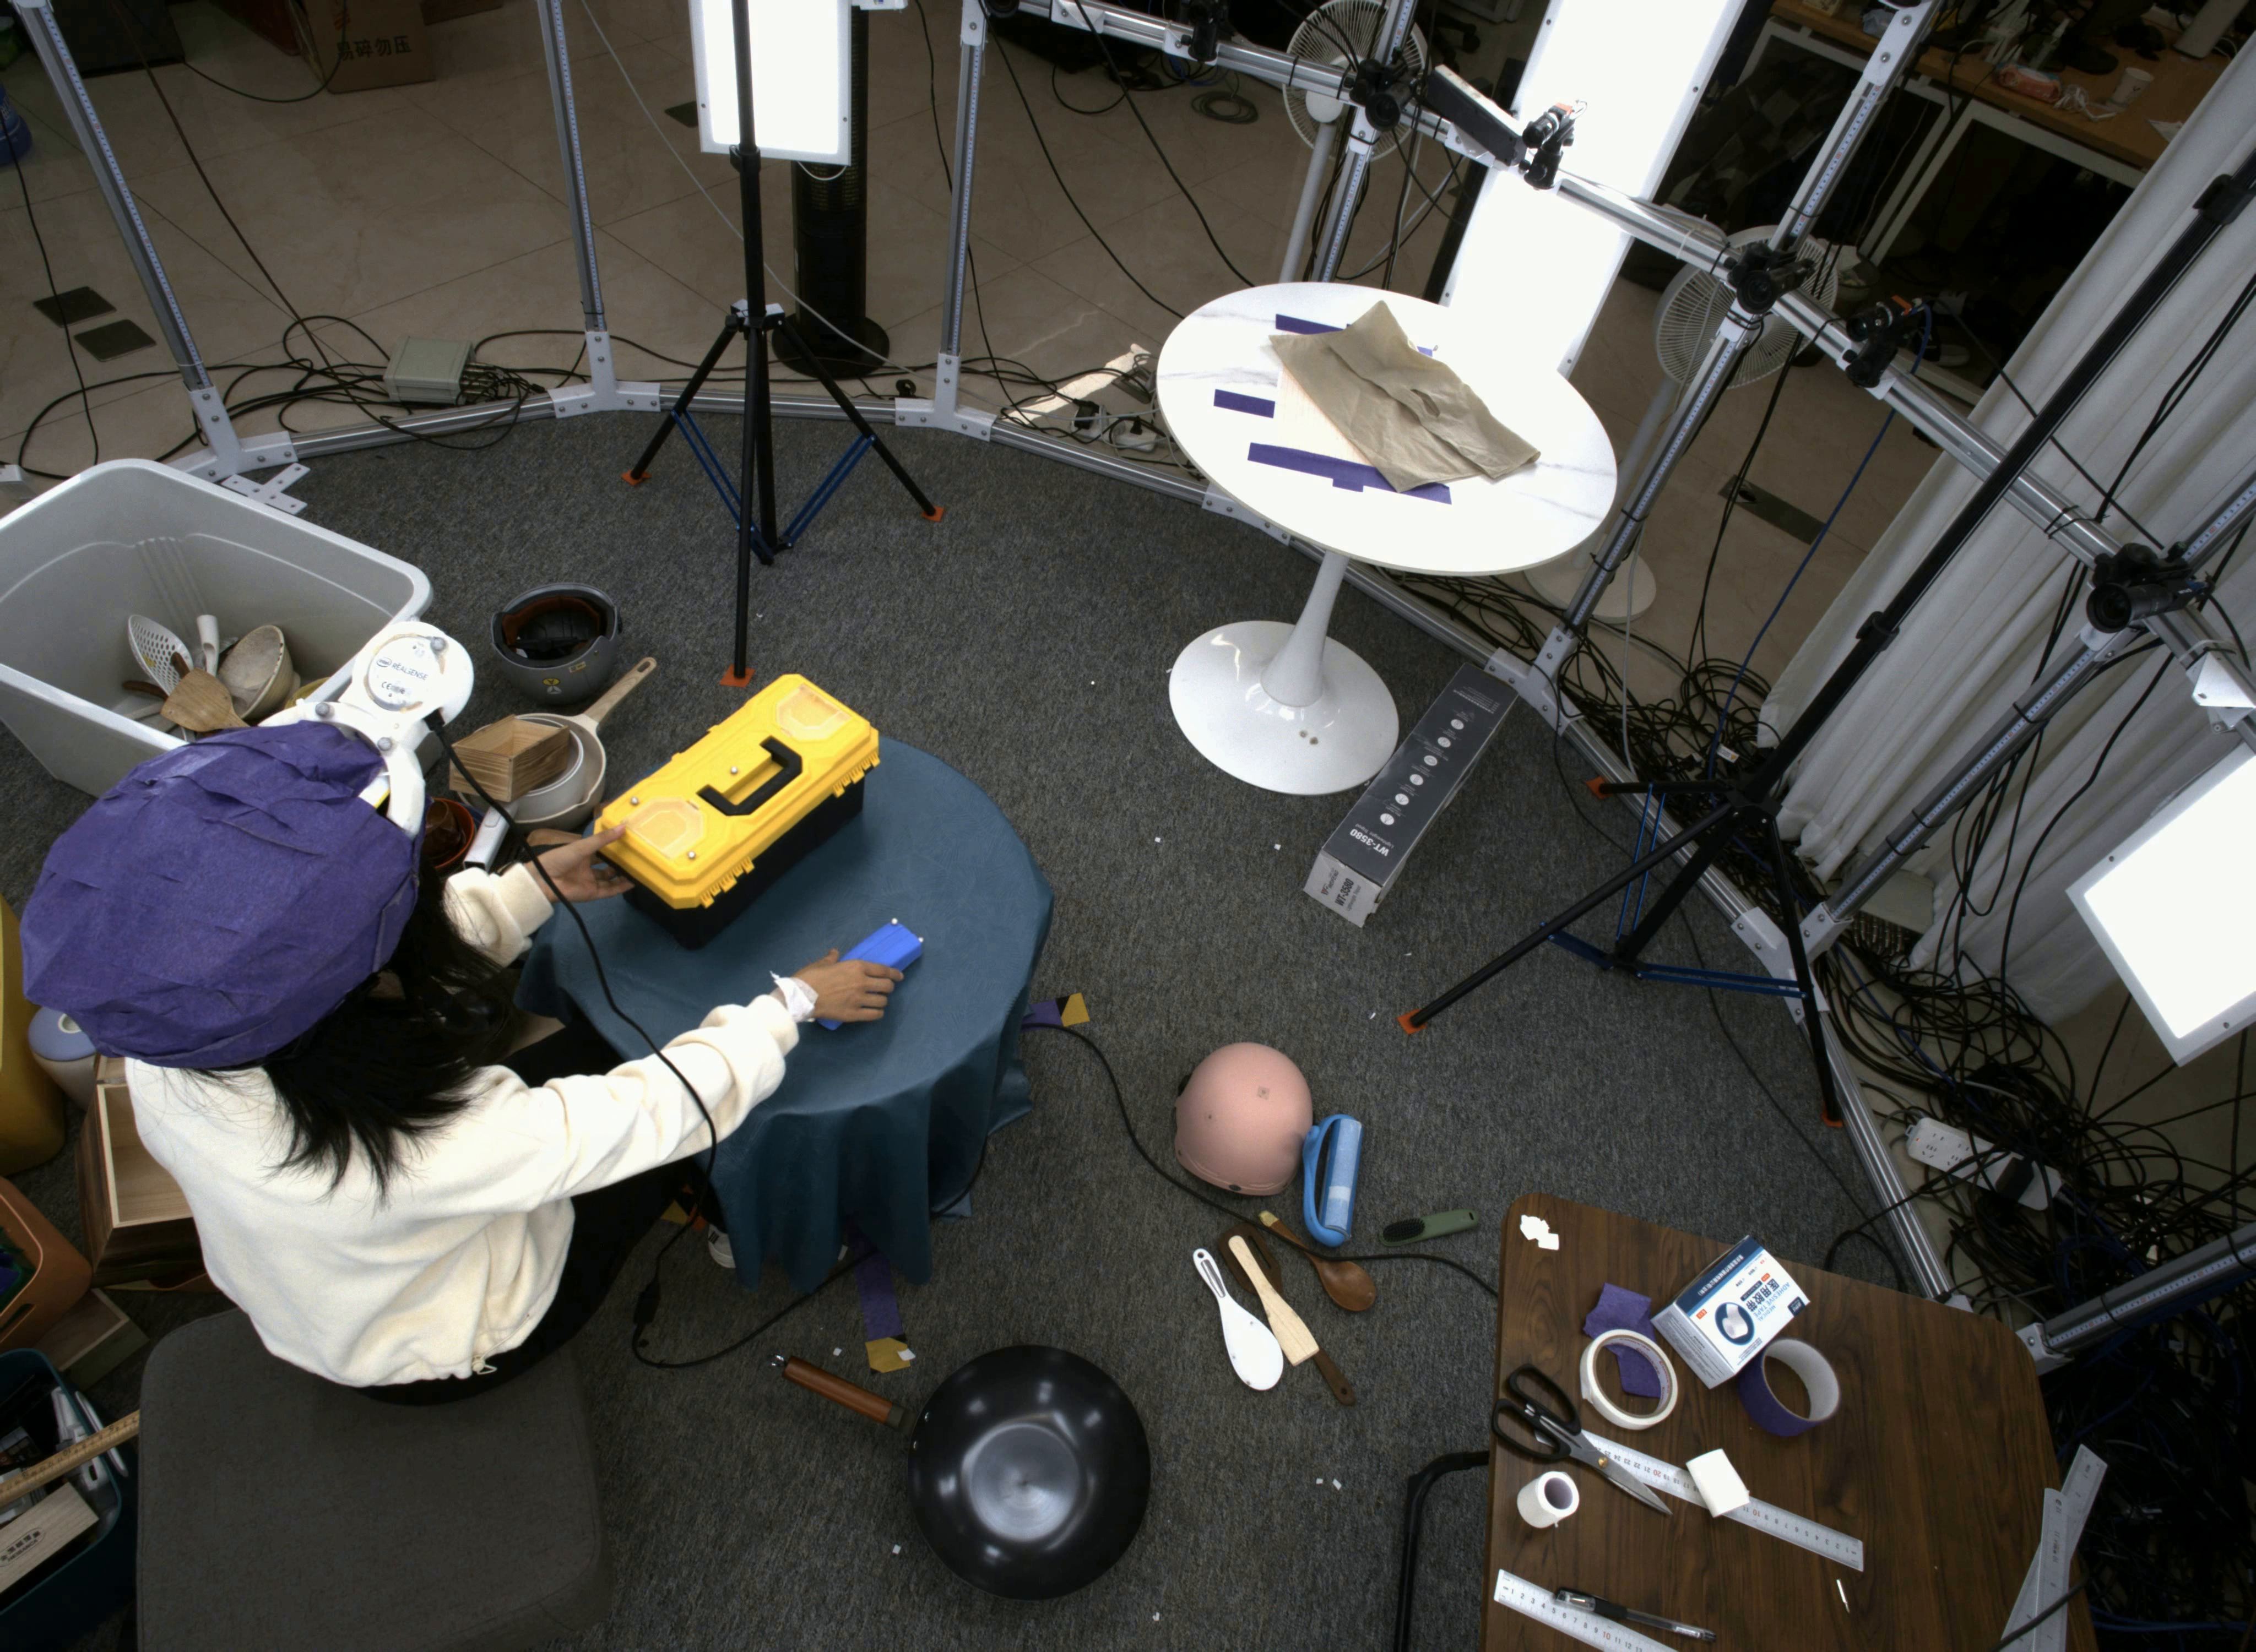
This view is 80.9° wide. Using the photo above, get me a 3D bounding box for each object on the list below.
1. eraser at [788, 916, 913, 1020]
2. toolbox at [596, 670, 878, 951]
[{"bbox_3d":[-0.335,0.166,1.578,0.053,0.048,0.162,46,53,12],"label":"eraser"},{"bbox_3d":[-0.481,-0.022,1.608,0.178,0.176,0.351,34,53,13],"label":"toolbox"}]
